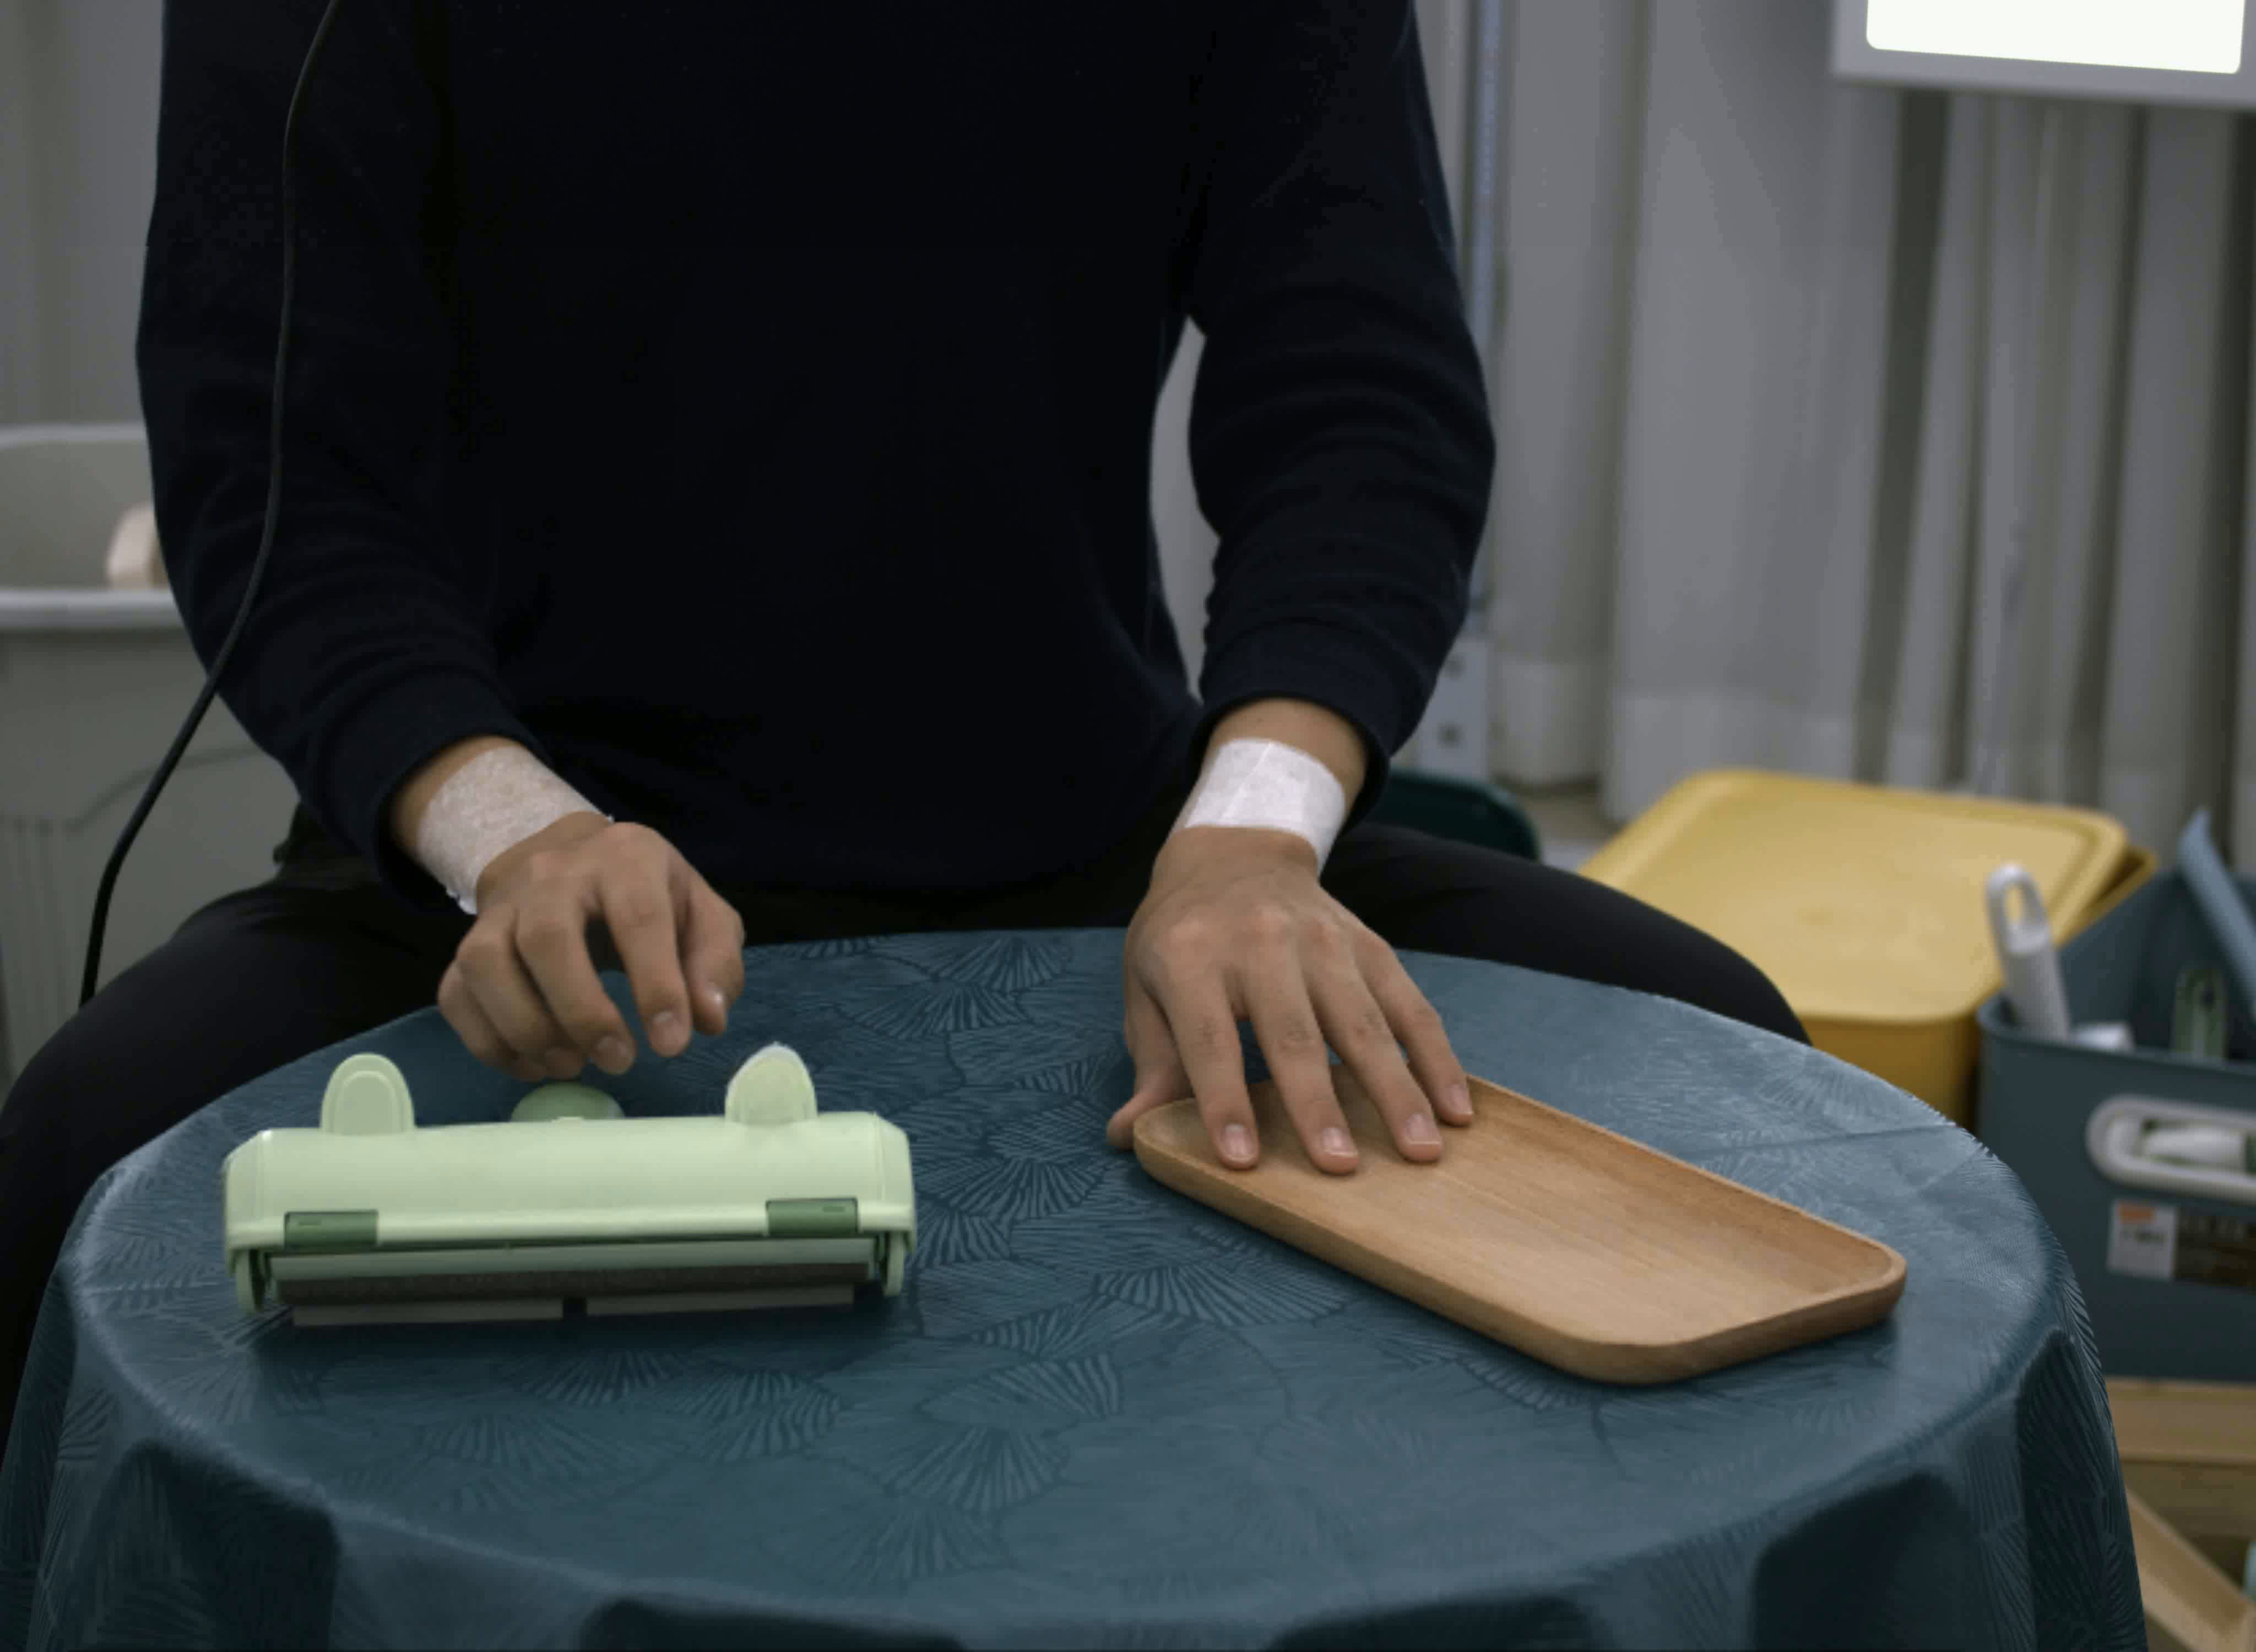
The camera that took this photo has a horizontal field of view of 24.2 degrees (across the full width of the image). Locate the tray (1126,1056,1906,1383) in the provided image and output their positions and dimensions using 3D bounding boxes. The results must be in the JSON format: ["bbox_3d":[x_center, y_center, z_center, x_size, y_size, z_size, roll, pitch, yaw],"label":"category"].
[{"bbox_3d":[0.112,0.115,1.584,0.131,0.023,0.247,-8,17,-35],"label":"tray"}]

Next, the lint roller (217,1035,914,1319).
[{"bbox_3d":[-0.167,0.083,1.558,0.198,0.083,0.181,-1,22,-8],"label":"lint roller"}]
